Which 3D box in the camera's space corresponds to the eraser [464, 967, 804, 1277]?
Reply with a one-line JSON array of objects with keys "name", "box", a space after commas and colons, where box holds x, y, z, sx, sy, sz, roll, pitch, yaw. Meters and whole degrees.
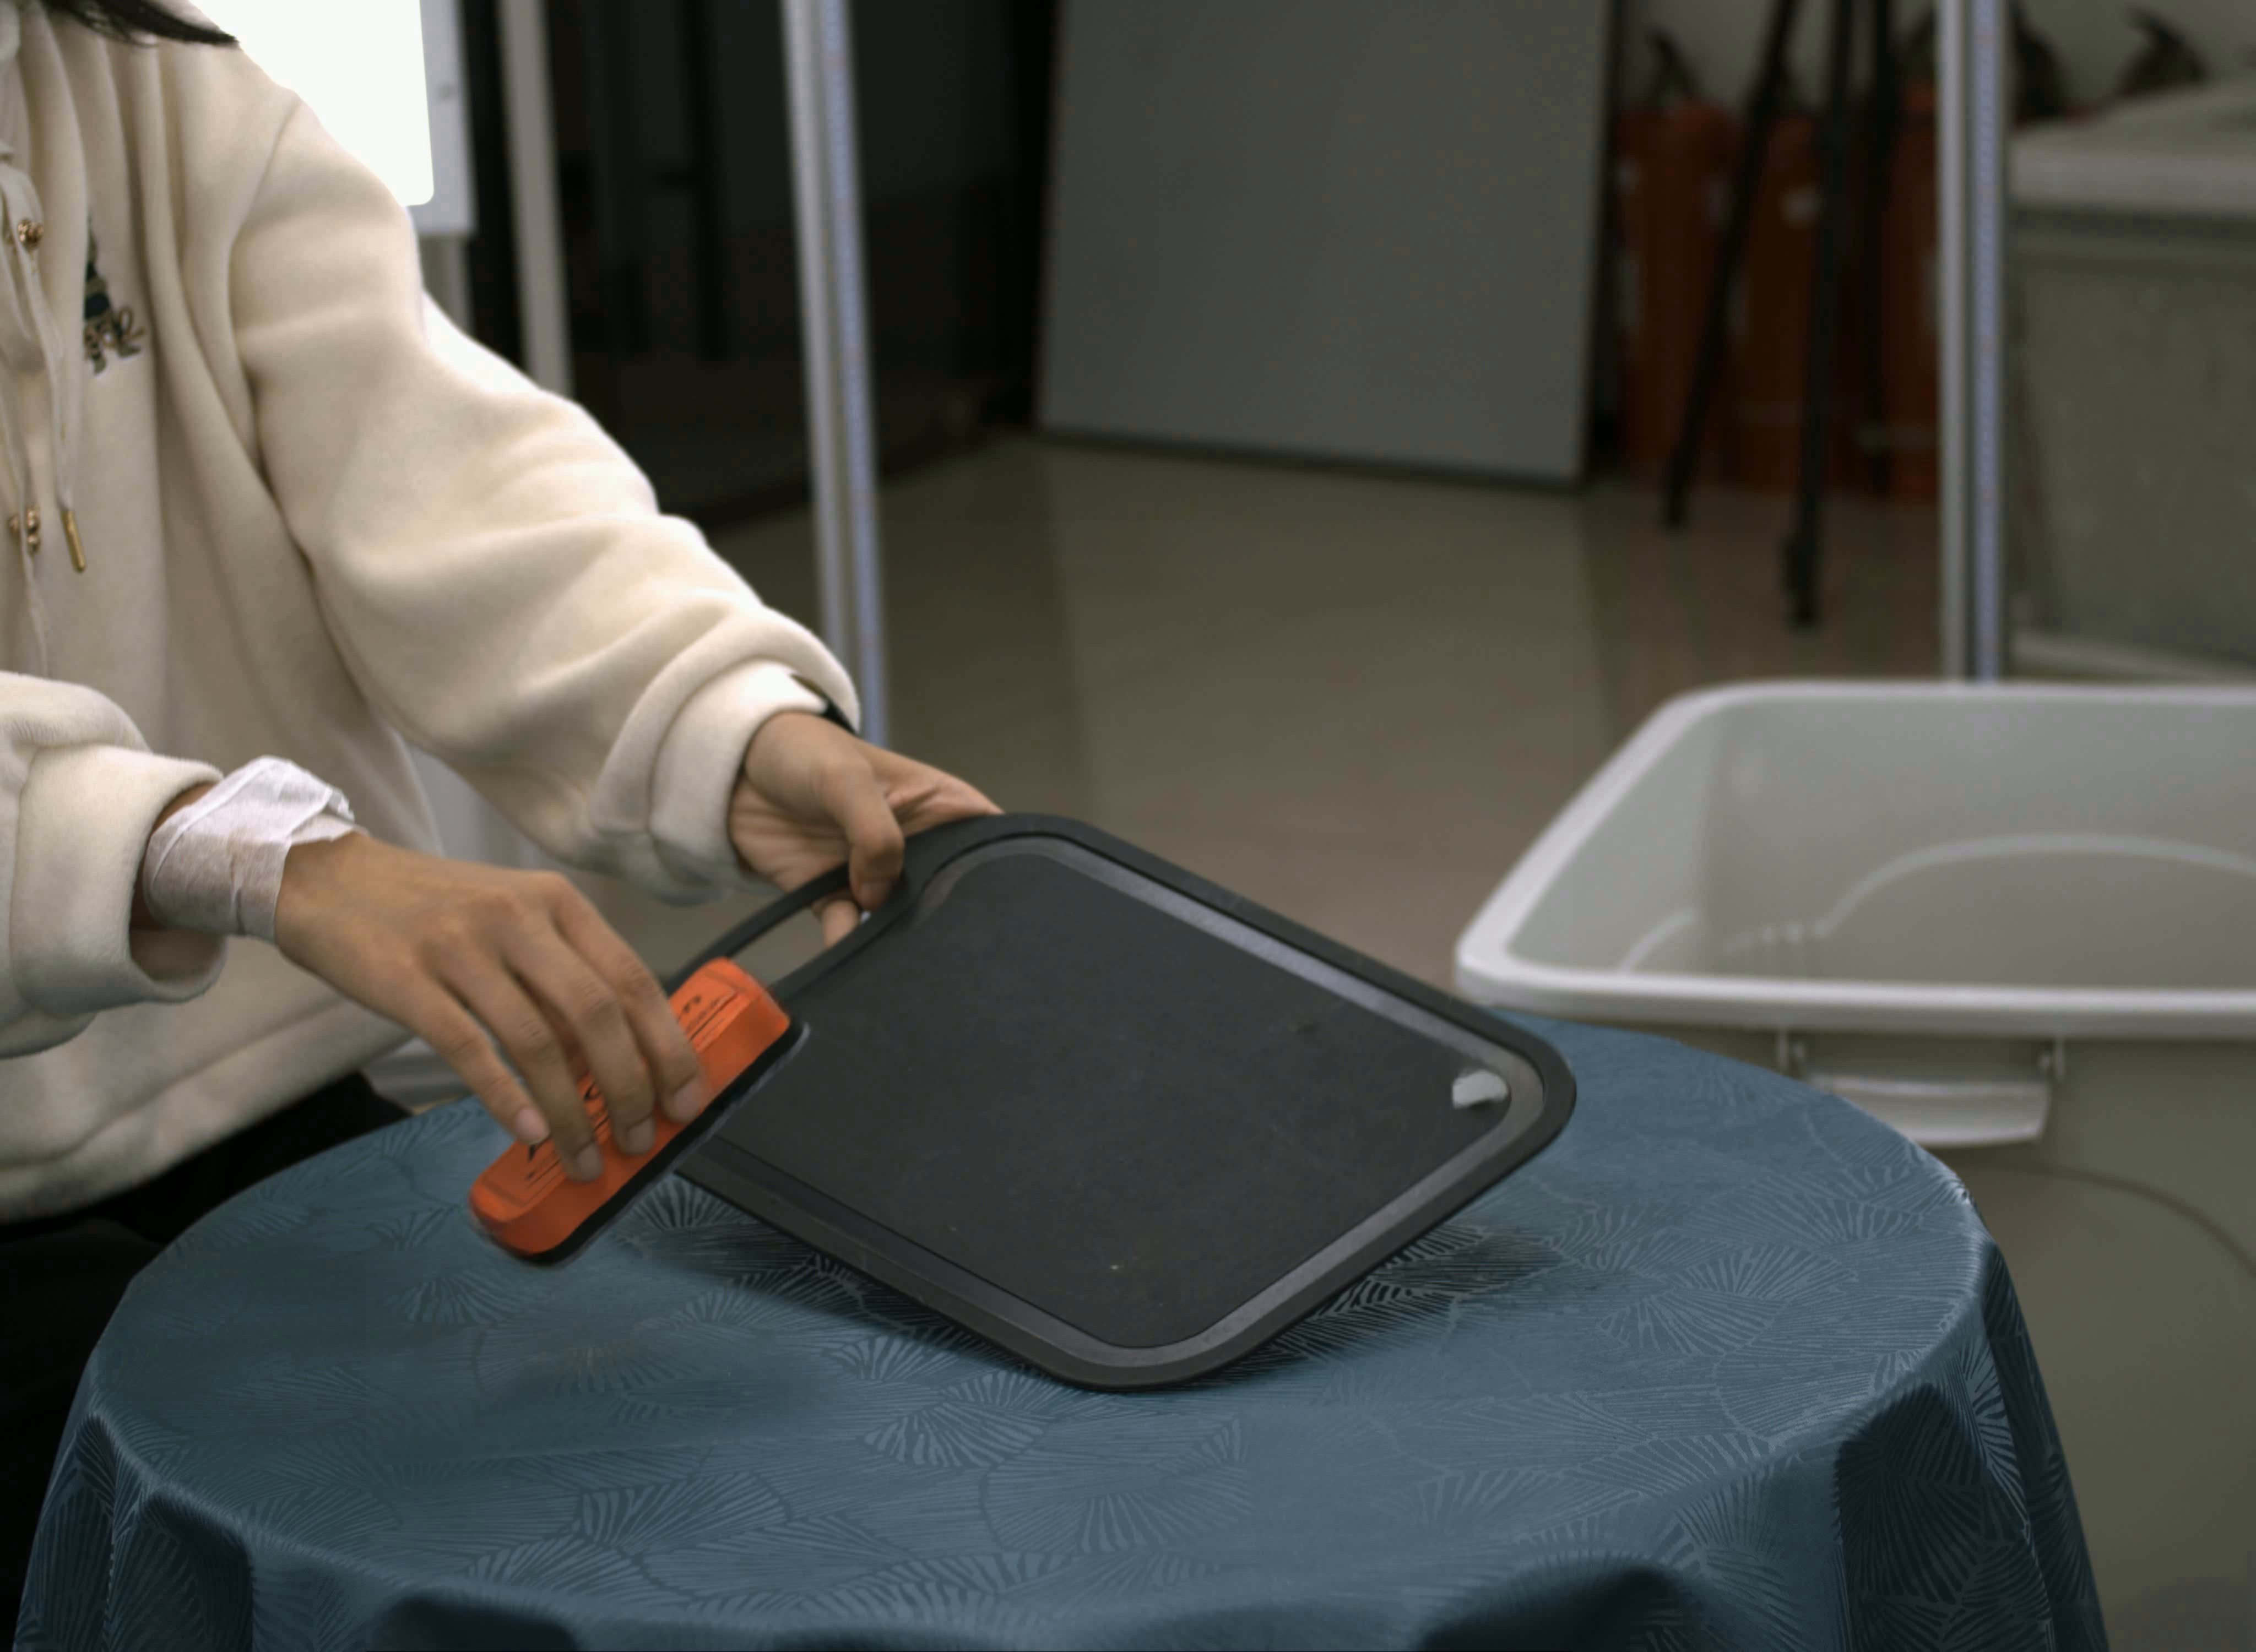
[{"name": "eraser", "box": [-0.149, 0.089, 1.632, 0.107, 0.023, 0.059, -43, 20, -11]}]

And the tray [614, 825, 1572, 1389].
[{"name": "tray", "box": [-0.024, 0.080, 1.730, 0.208, 0.010, 0.329, -34, 36, -28]}]
